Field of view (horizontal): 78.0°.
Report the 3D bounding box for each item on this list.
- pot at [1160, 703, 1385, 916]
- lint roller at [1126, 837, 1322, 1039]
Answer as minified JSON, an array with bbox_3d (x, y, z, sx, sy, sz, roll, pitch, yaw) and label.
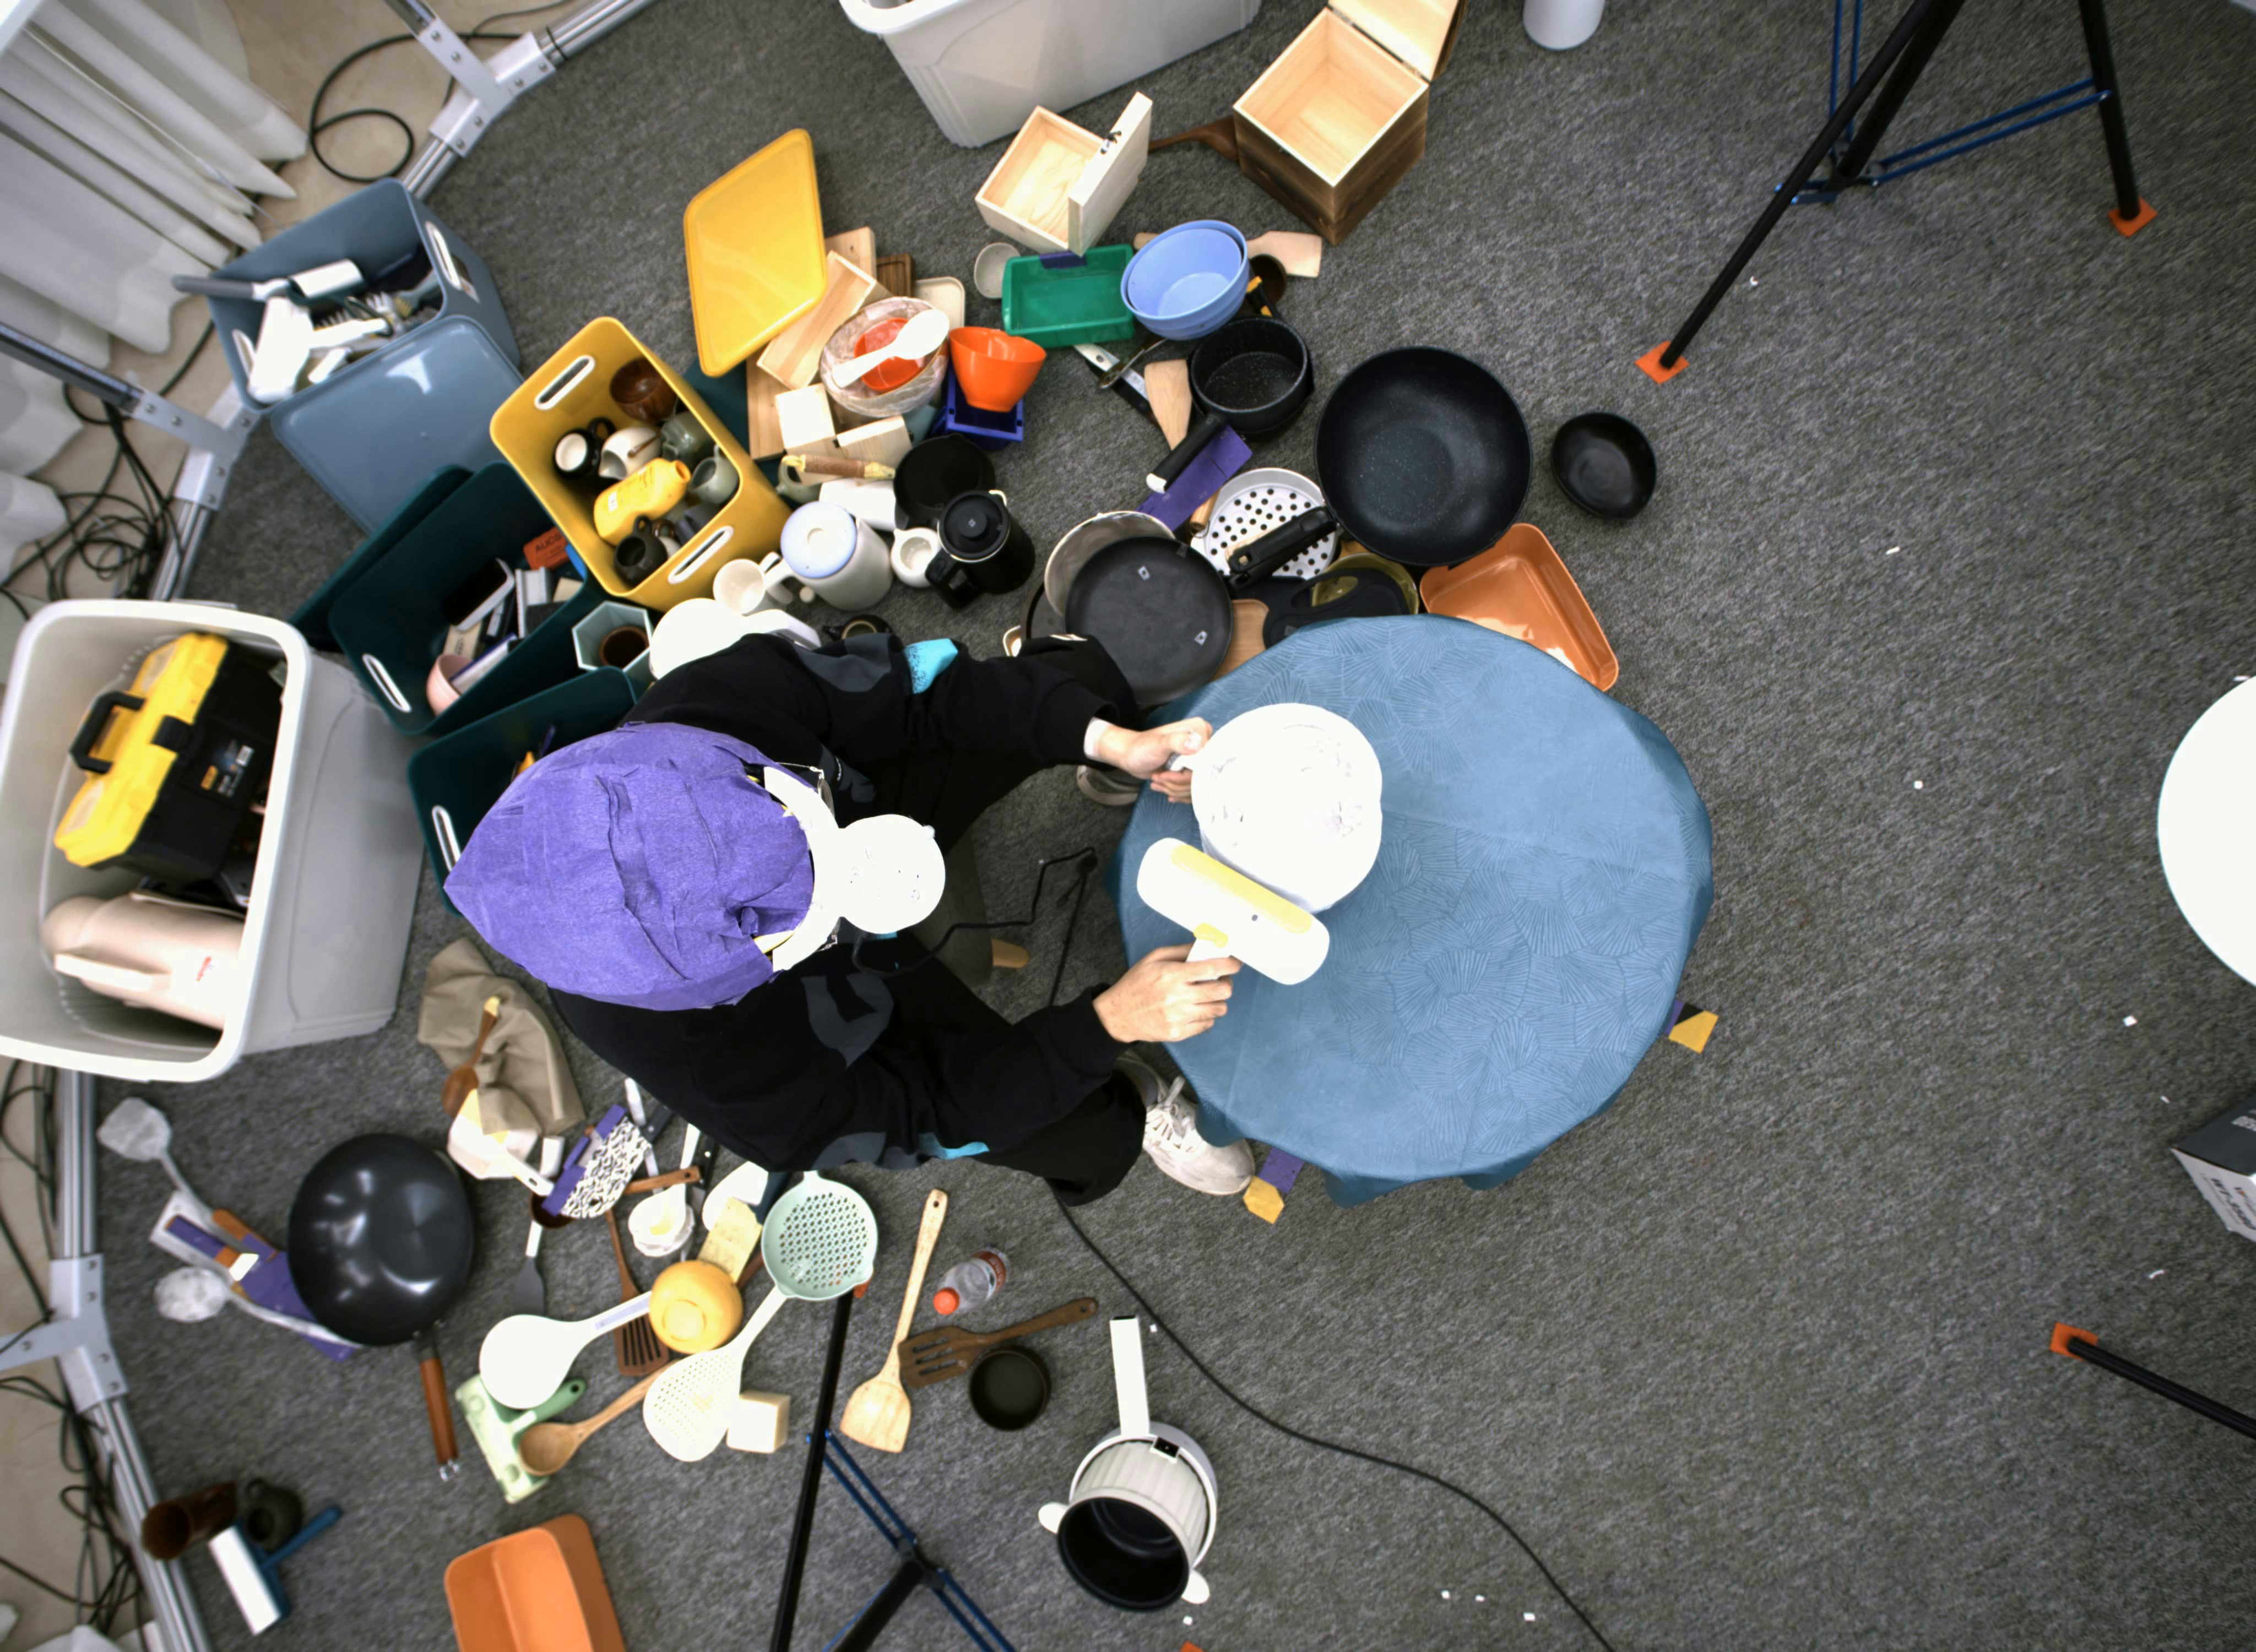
[{"bbox_3d":[0.132,-0.022,1.341,0.233,0.139,0.176,27,71,19],"label":"pot"},{"bbox_3d":[0.074,0.122,1.322,0.193,0.072,0.197,24,134,11],"label":"lint roller"}]
